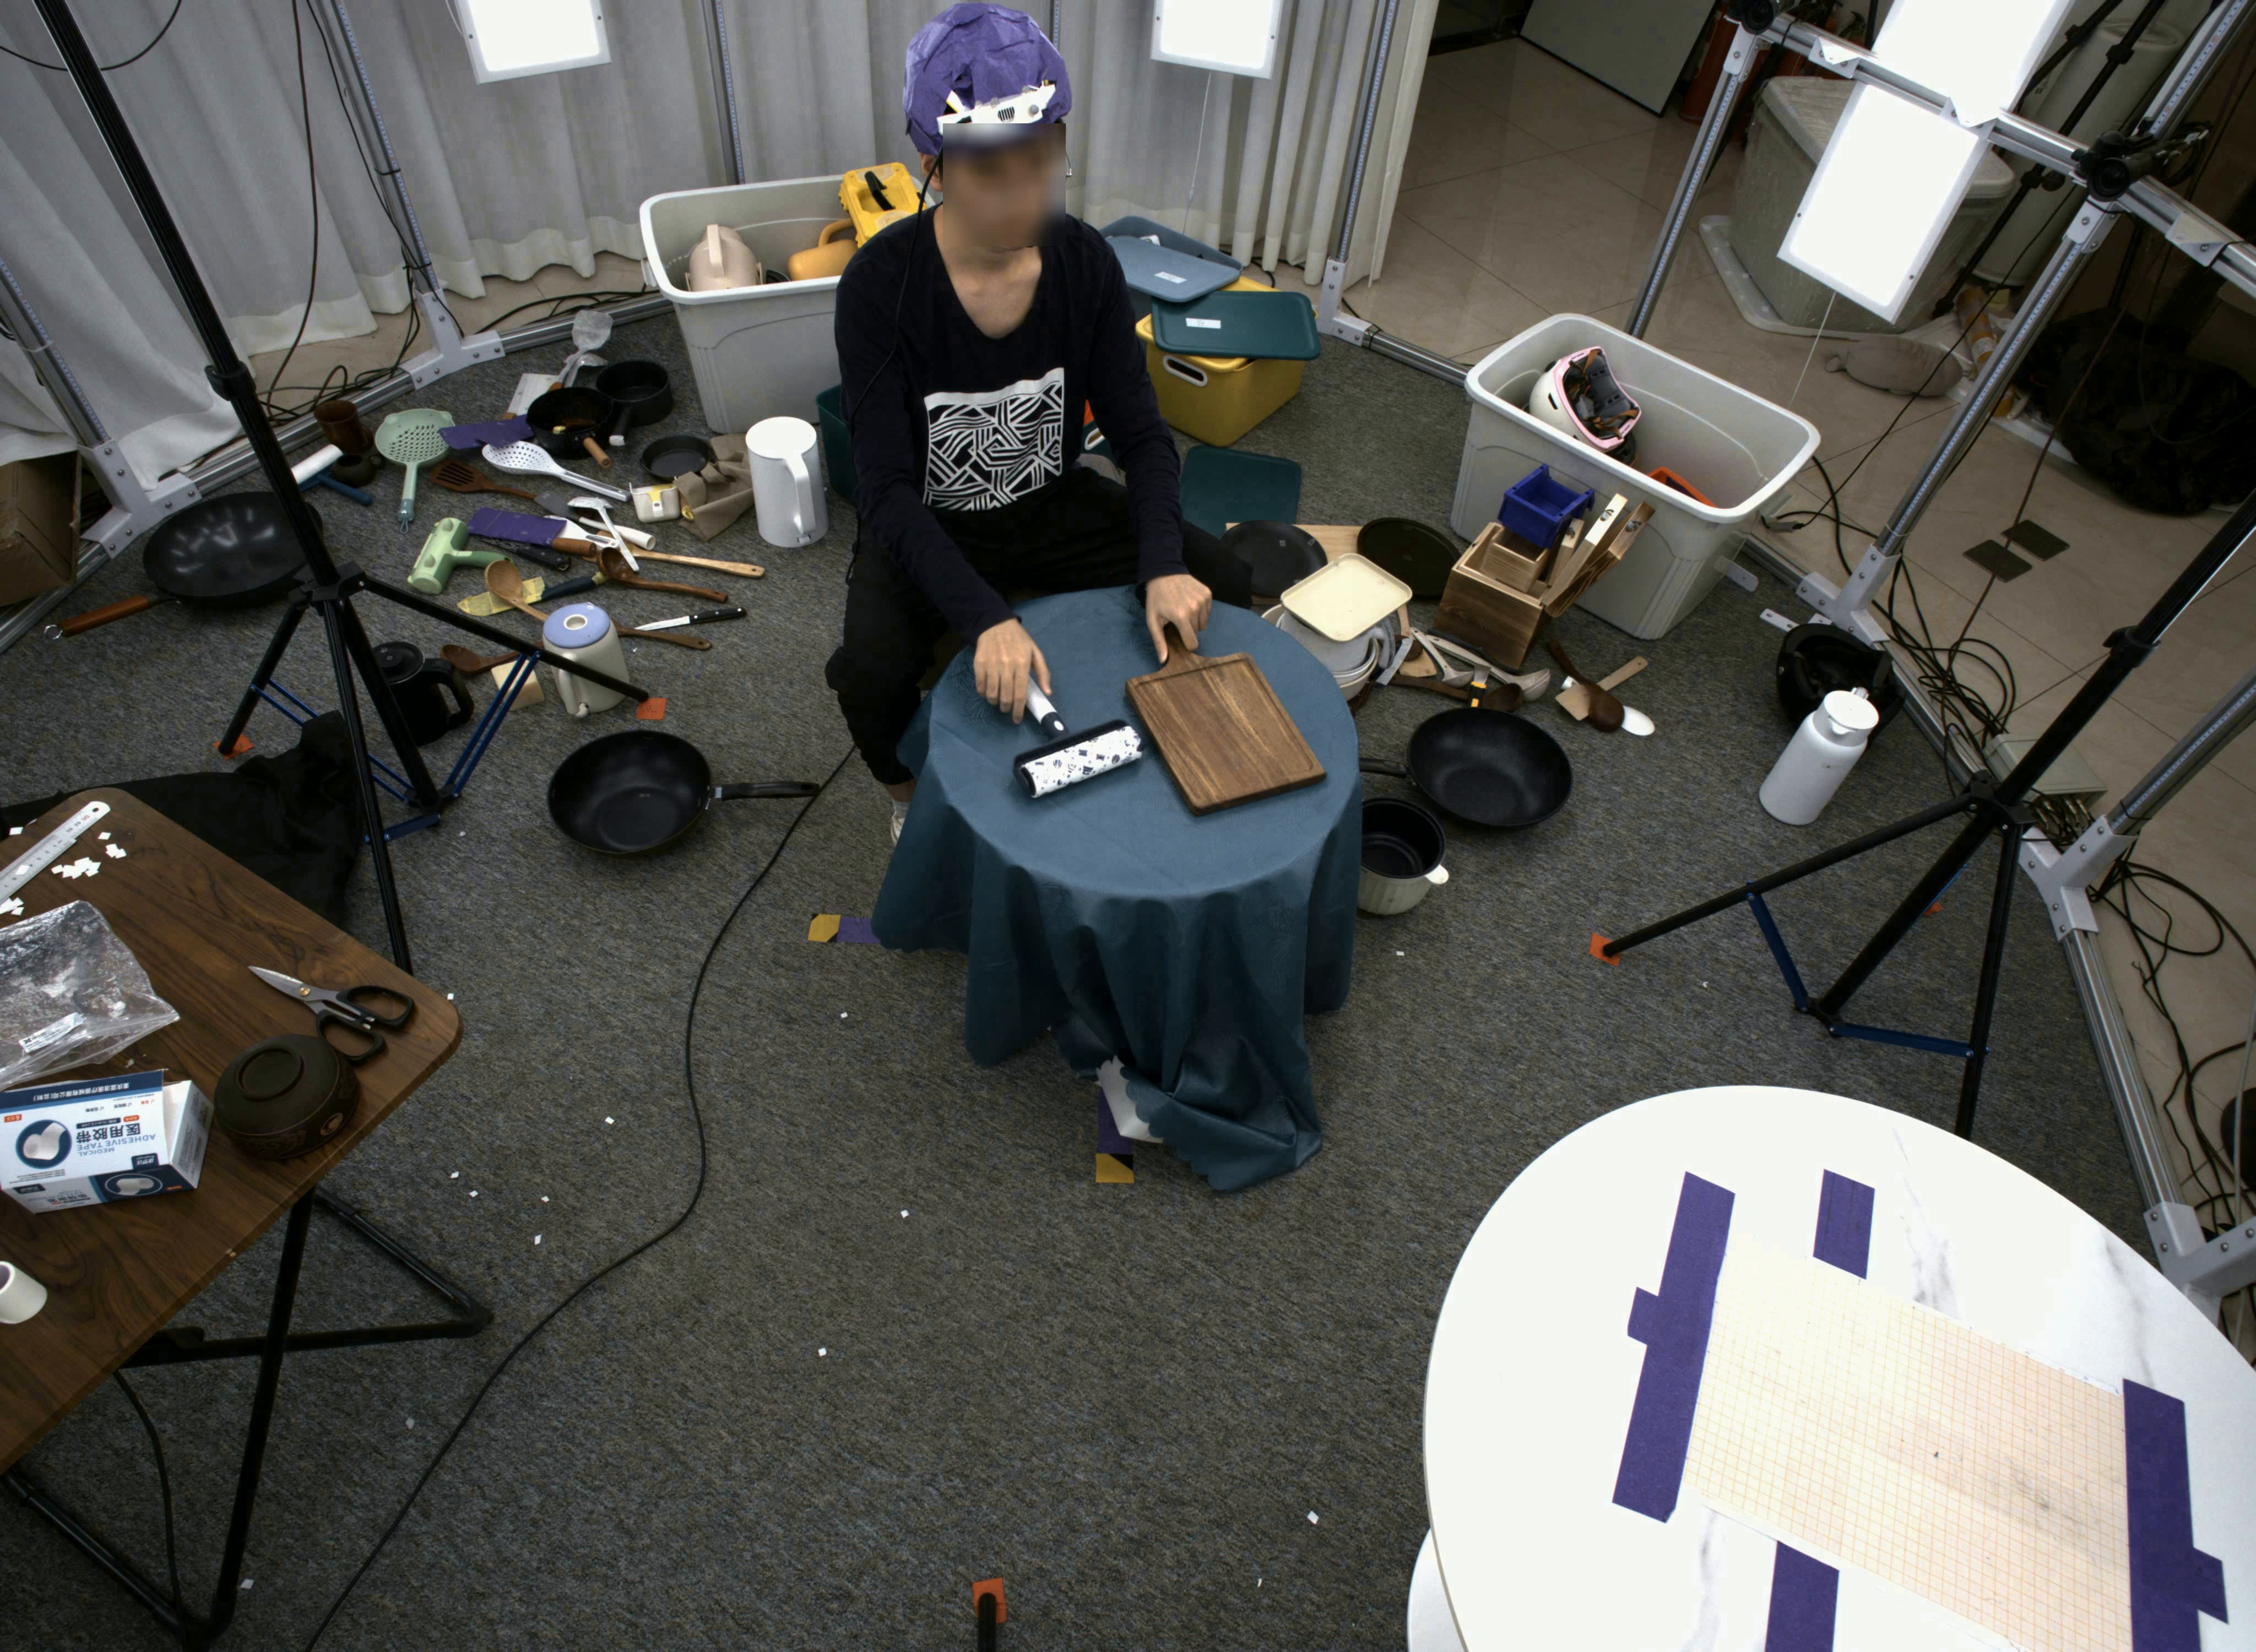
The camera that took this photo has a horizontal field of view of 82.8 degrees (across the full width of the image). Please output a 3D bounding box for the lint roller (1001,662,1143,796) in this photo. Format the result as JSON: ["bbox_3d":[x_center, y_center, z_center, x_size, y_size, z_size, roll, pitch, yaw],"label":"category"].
[{"bbox_3d":[-0.115,-0.154,1.767,0.177,0.049,0.252,-23,52,-21],"label":"lint roller"}]

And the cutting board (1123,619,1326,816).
[{"bbox_3d":[0.112,-0.171,1.804,0.201,0.022,0.360,-16,53,-17],"label":"cutting board"}]
